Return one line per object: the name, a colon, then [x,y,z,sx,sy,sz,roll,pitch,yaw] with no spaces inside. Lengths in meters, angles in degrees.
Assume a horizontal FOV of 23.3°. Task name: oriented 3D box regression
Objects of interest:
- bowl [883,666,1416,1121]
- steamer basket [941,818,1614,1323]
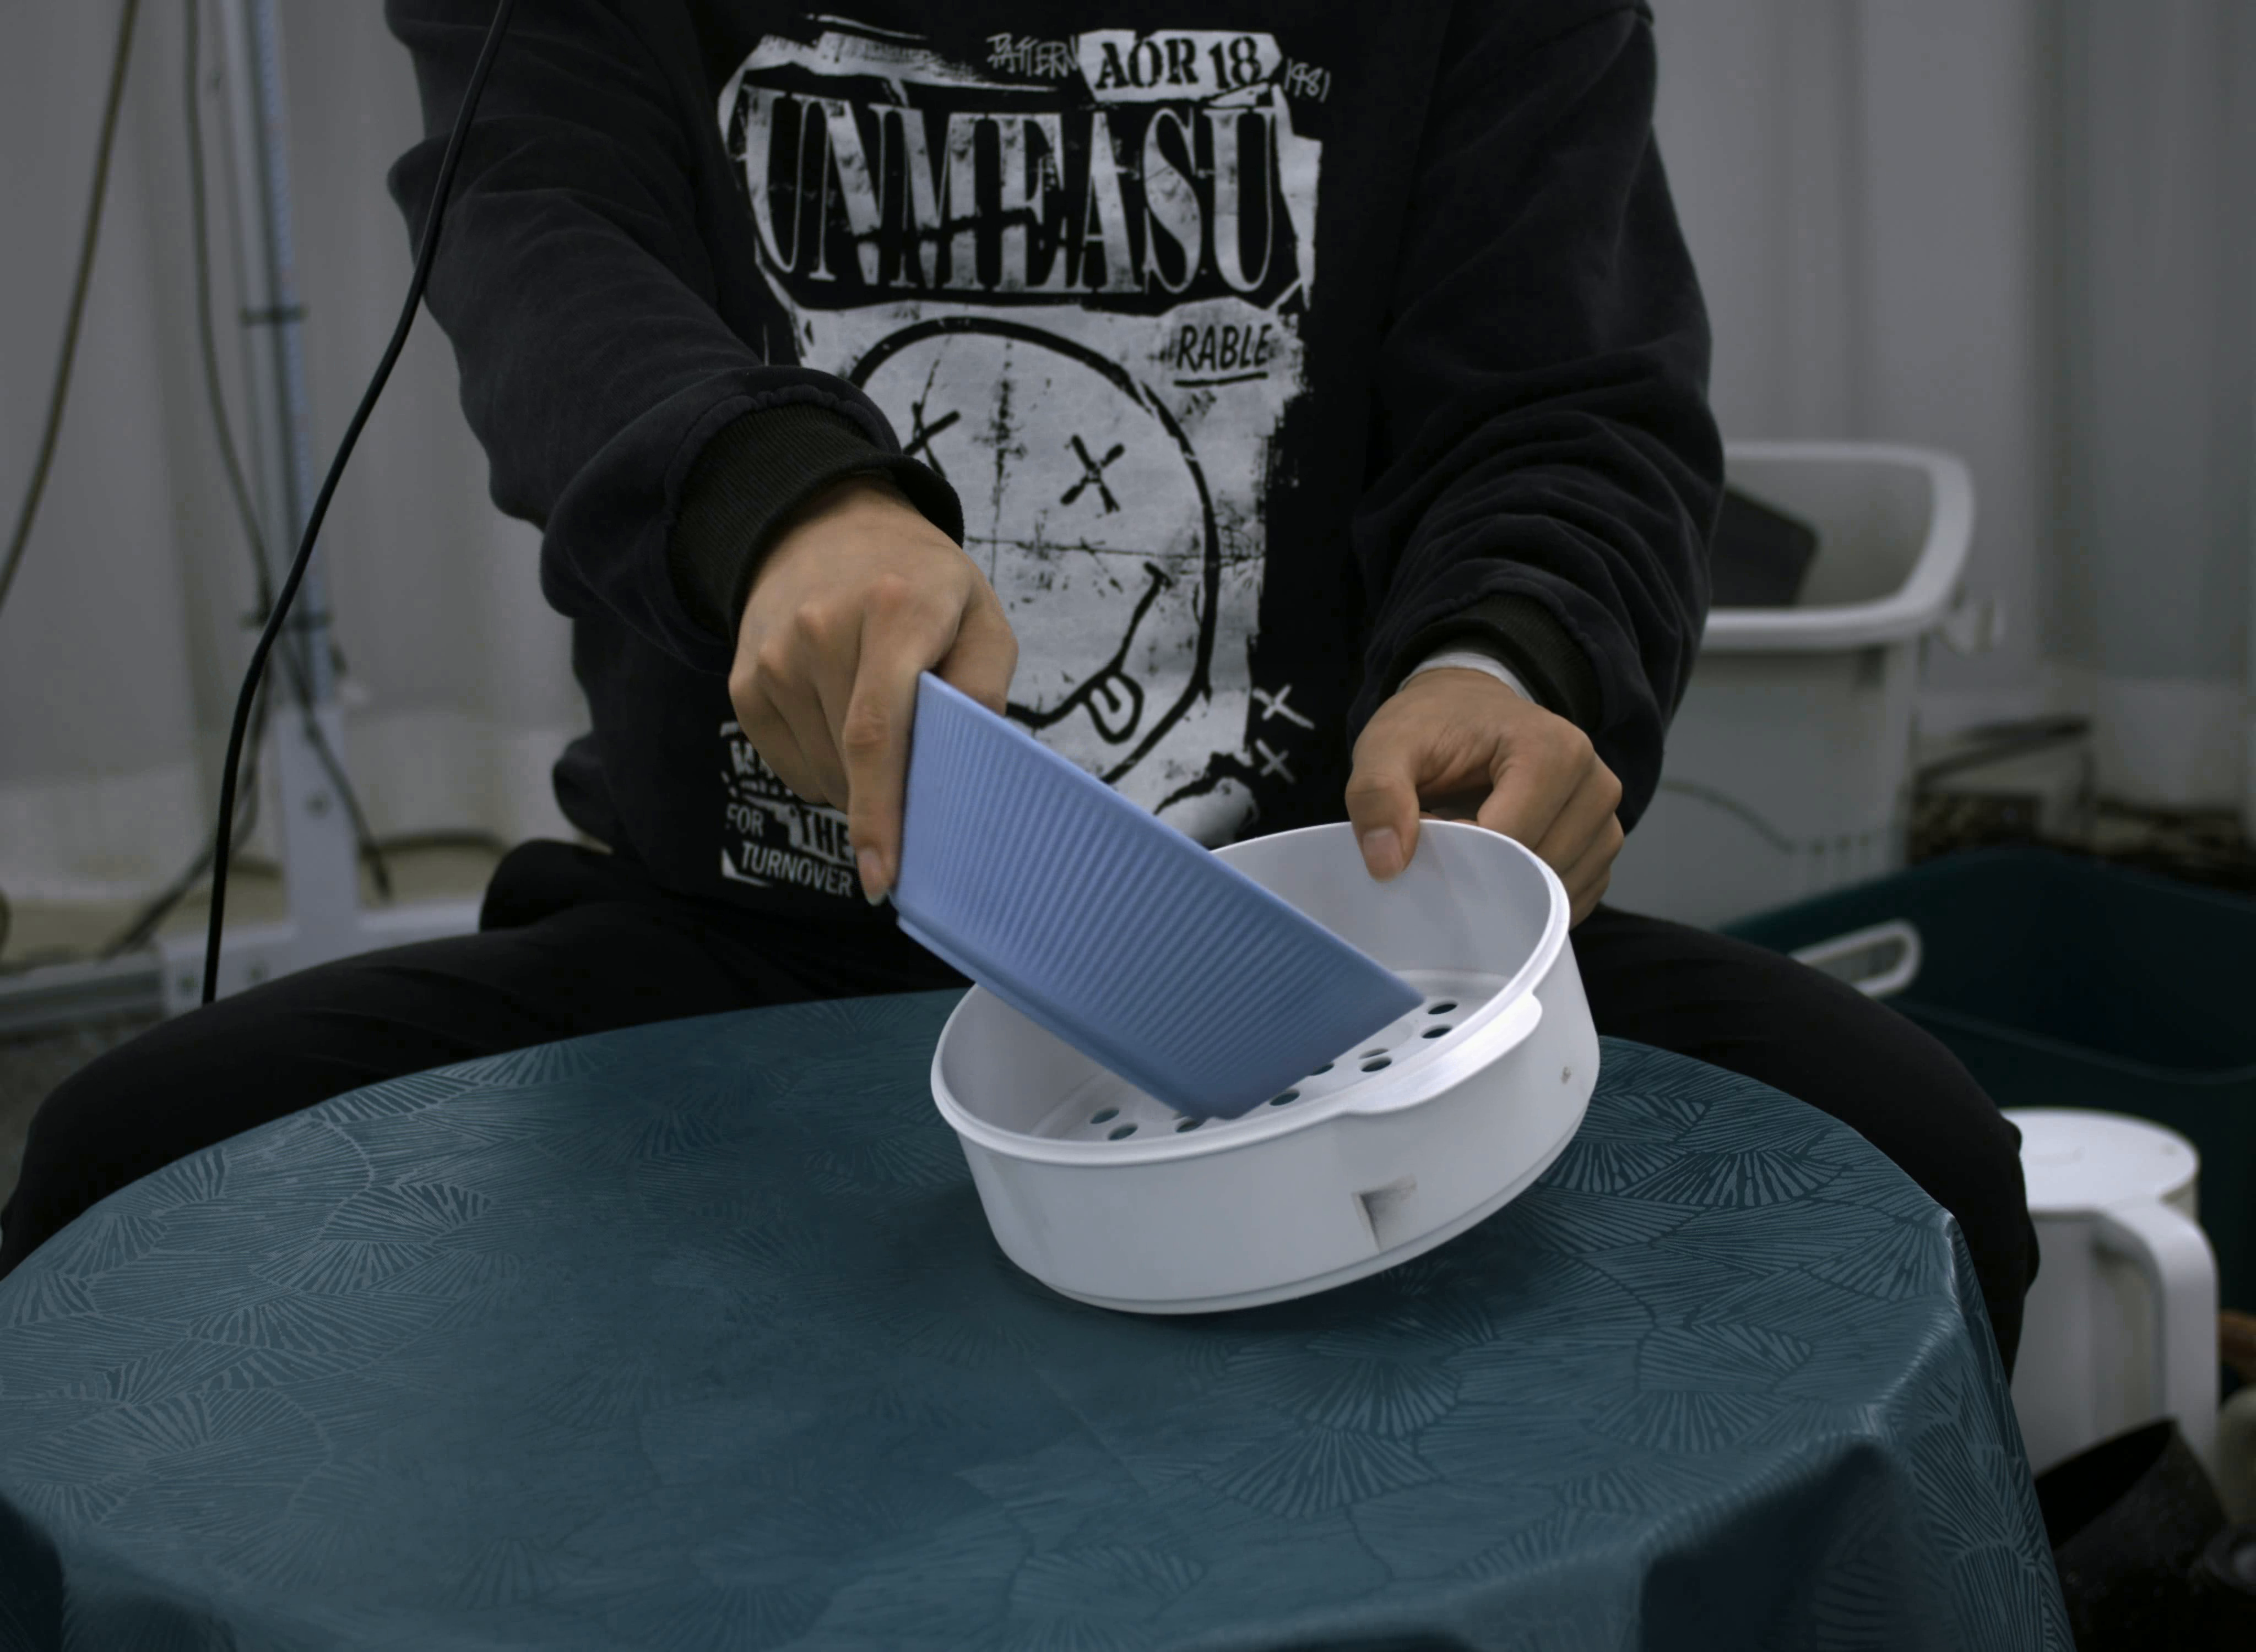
bowl: [-0.006,0.028,1.599,0.176,0.070,0.176,34,-2,1]
steamer basket: [0.048,0.074,1.650,0.202,0.068,0.232,-30,28,-27]
